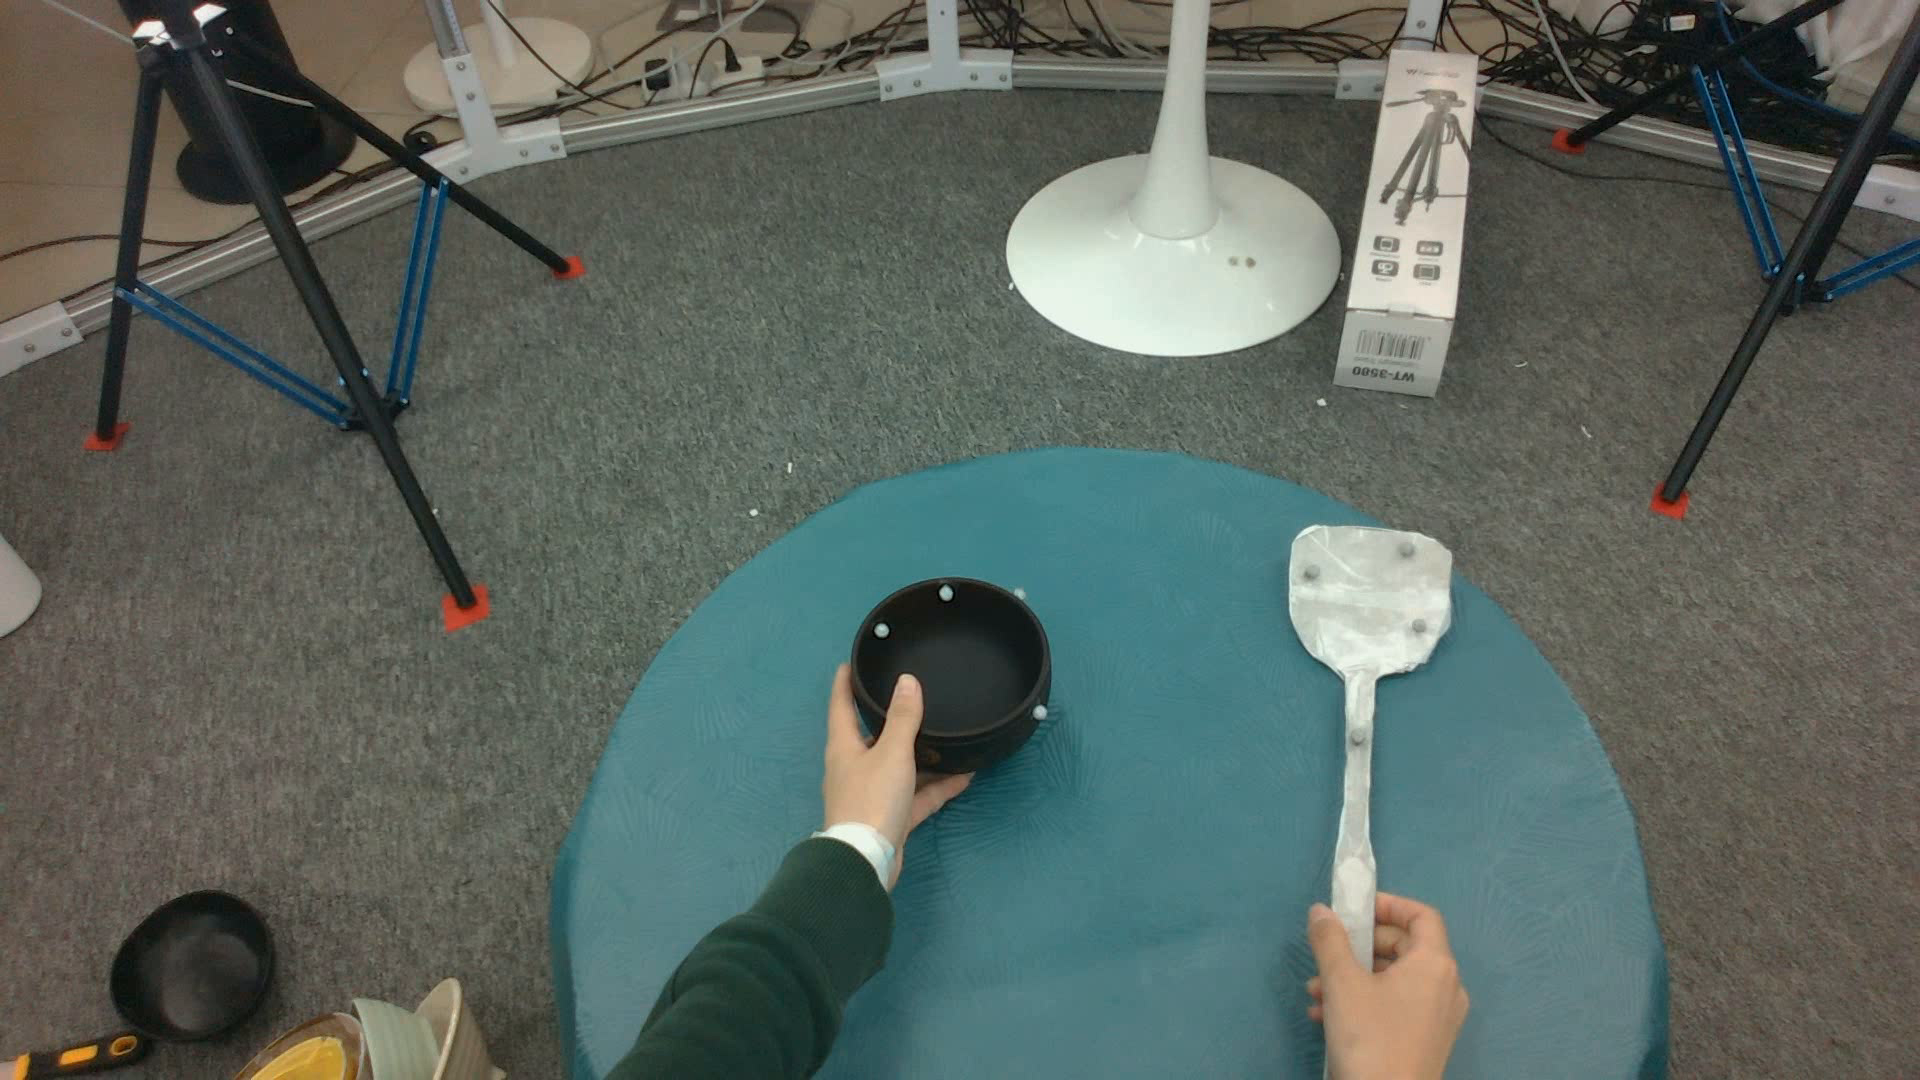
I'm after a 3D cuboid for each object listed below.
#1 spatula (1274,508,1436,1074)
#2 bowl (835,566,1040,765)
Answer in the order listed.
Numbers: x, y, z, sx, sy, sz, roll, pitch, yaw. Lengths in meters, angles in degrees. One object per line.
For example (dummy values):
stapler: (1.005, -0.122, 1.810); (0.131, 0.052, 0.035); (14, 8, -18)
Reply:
spatula: (0.213, 0.121, 0.774); (0.098, 0.044, 0.367); (9, 45, 12)
bowl: (-0.012, 0.080, 0.806); (0.118, 0.069, 0.118); (-2, 49, 3)
